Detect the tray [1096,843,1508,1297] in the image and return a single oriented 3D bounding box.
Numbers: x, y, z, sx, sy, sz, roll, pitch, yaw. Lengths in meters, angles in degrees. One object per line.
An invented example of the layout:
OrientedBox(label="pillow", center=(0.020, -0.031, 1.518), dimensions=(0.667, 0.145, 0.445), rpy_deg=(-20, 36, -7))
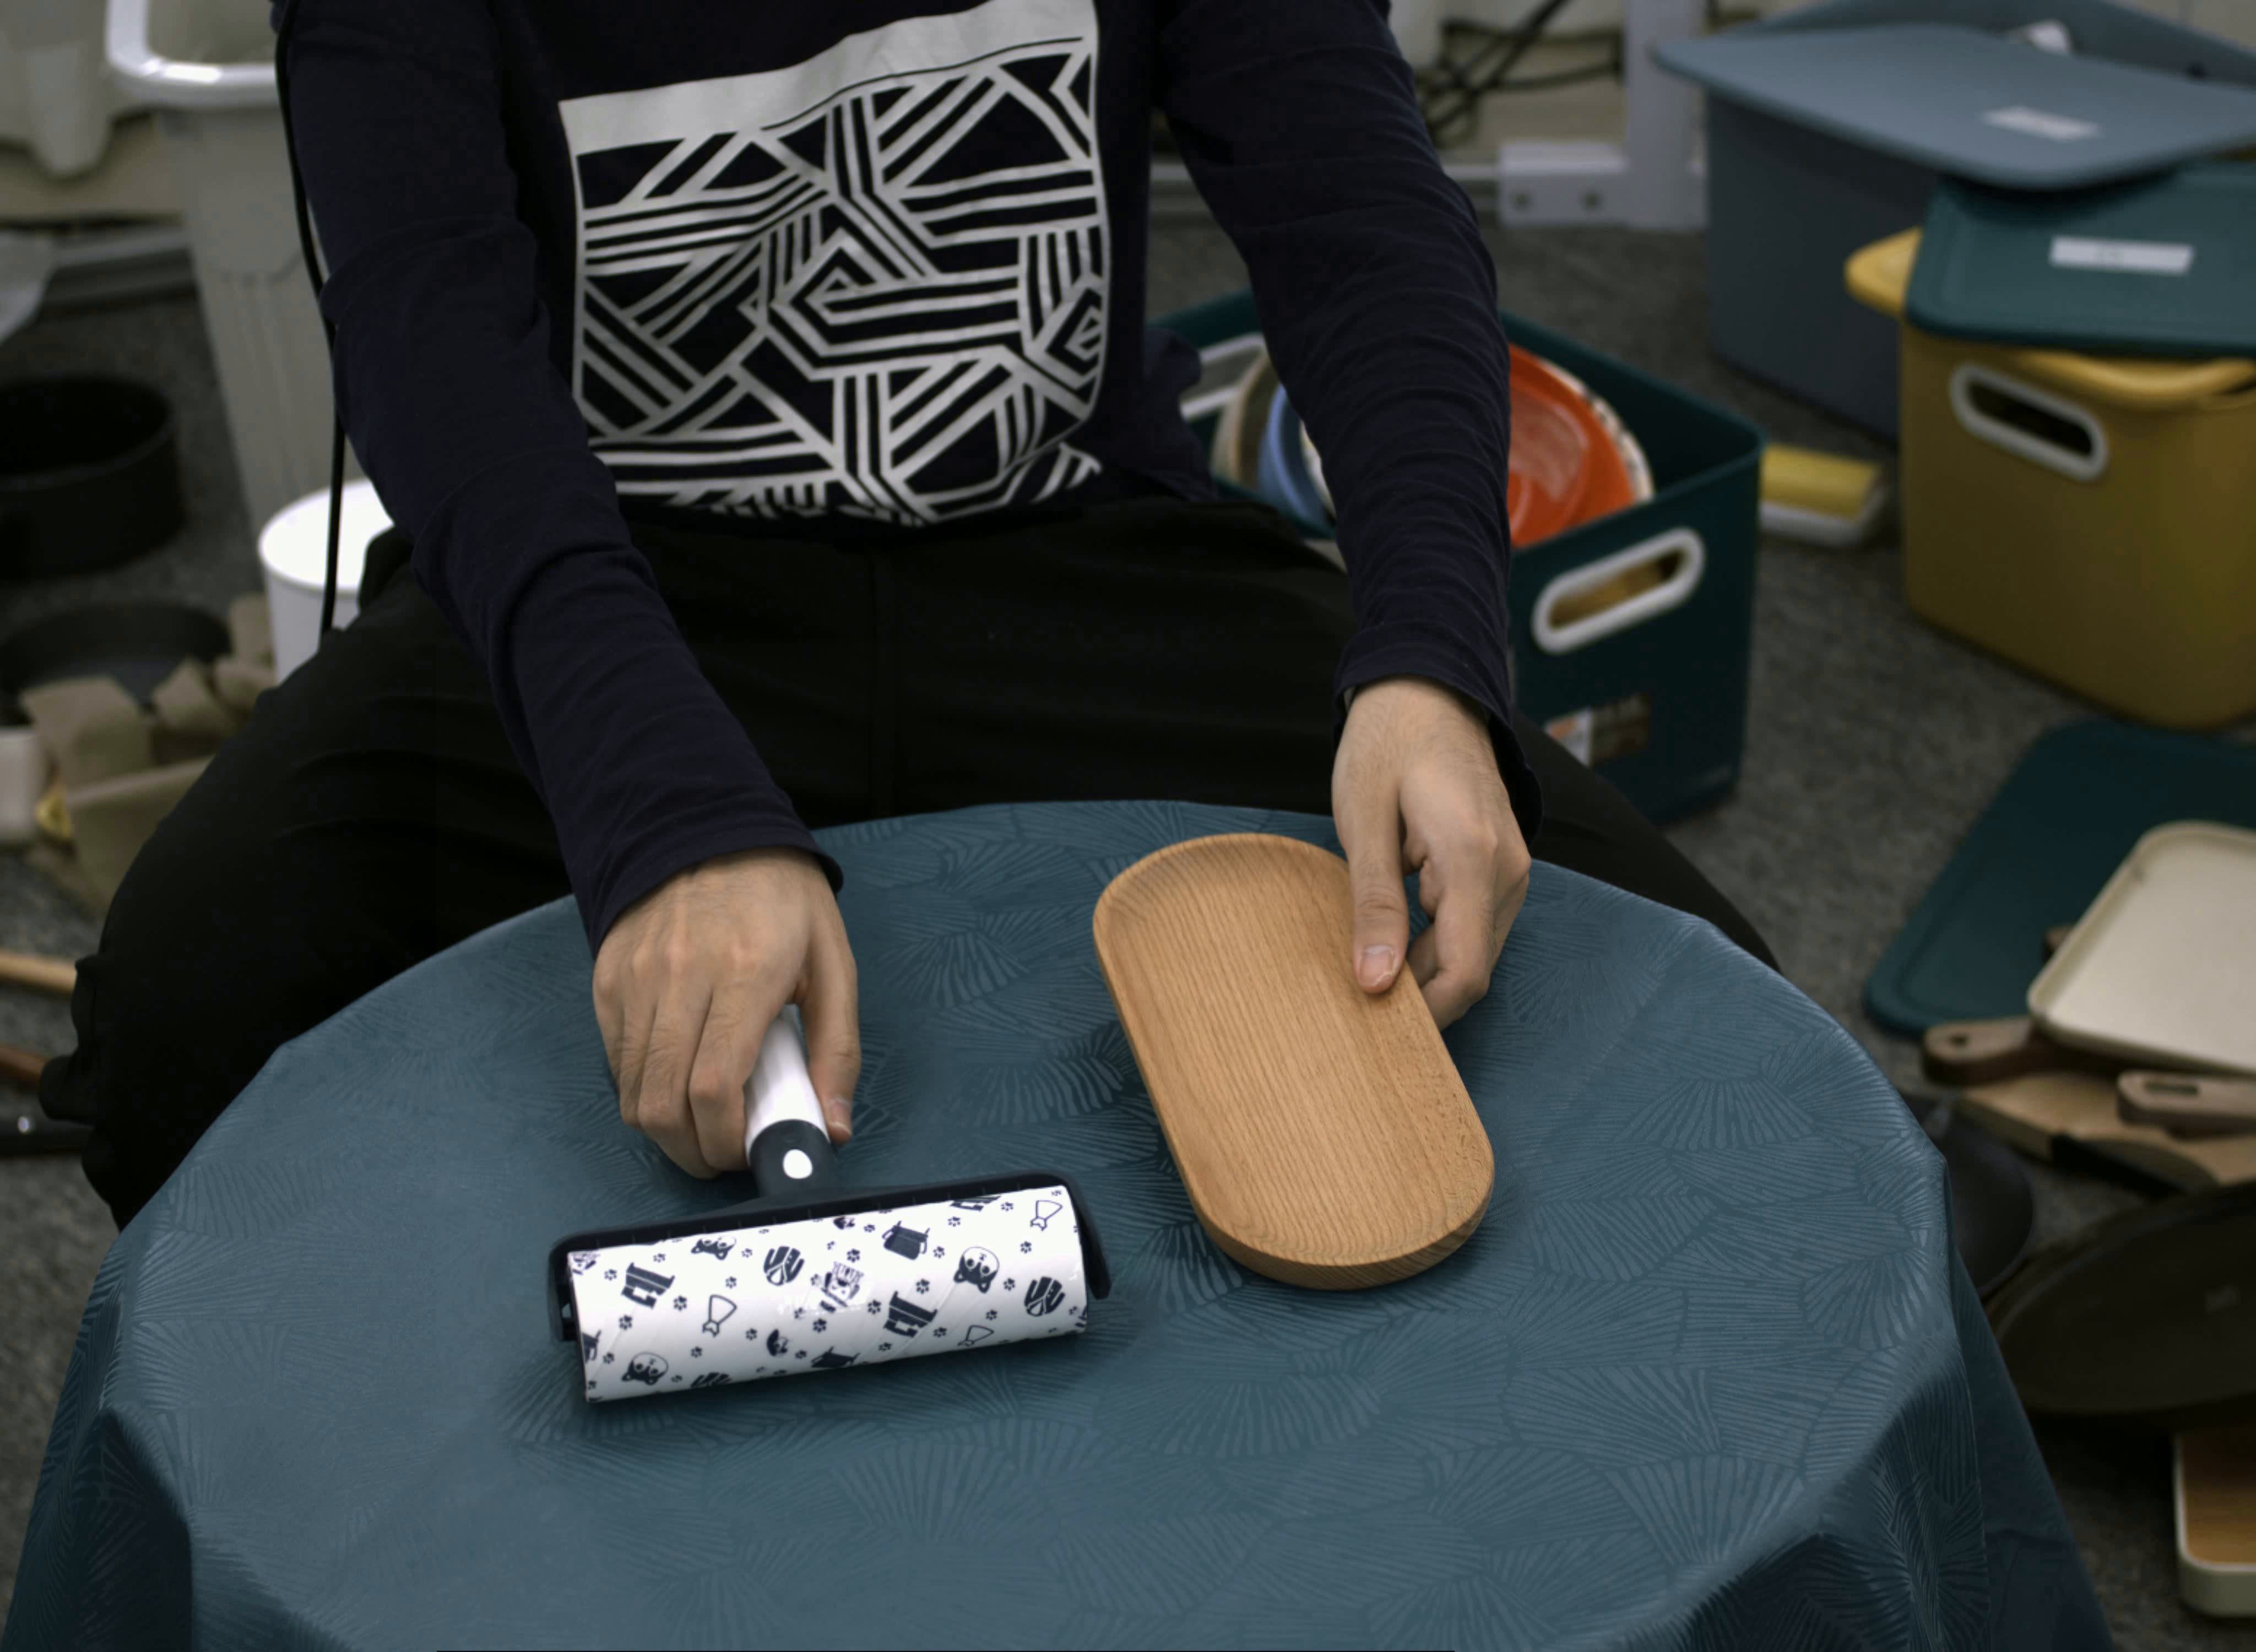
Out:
OrientedBox(label="tray", center=(0.056, 0.079, 1.884), dimensions=(0.101, 0.020, 0.234), rpy_deg=(-13, 38, -9))

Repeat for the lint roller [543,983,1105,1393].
OrientedBox(label="lint roller", center=(-0.114, 0.105, 1.860), dimensions=(0.176, 0.050, 0.249), rpy_deg=(-8, 25, -8))
